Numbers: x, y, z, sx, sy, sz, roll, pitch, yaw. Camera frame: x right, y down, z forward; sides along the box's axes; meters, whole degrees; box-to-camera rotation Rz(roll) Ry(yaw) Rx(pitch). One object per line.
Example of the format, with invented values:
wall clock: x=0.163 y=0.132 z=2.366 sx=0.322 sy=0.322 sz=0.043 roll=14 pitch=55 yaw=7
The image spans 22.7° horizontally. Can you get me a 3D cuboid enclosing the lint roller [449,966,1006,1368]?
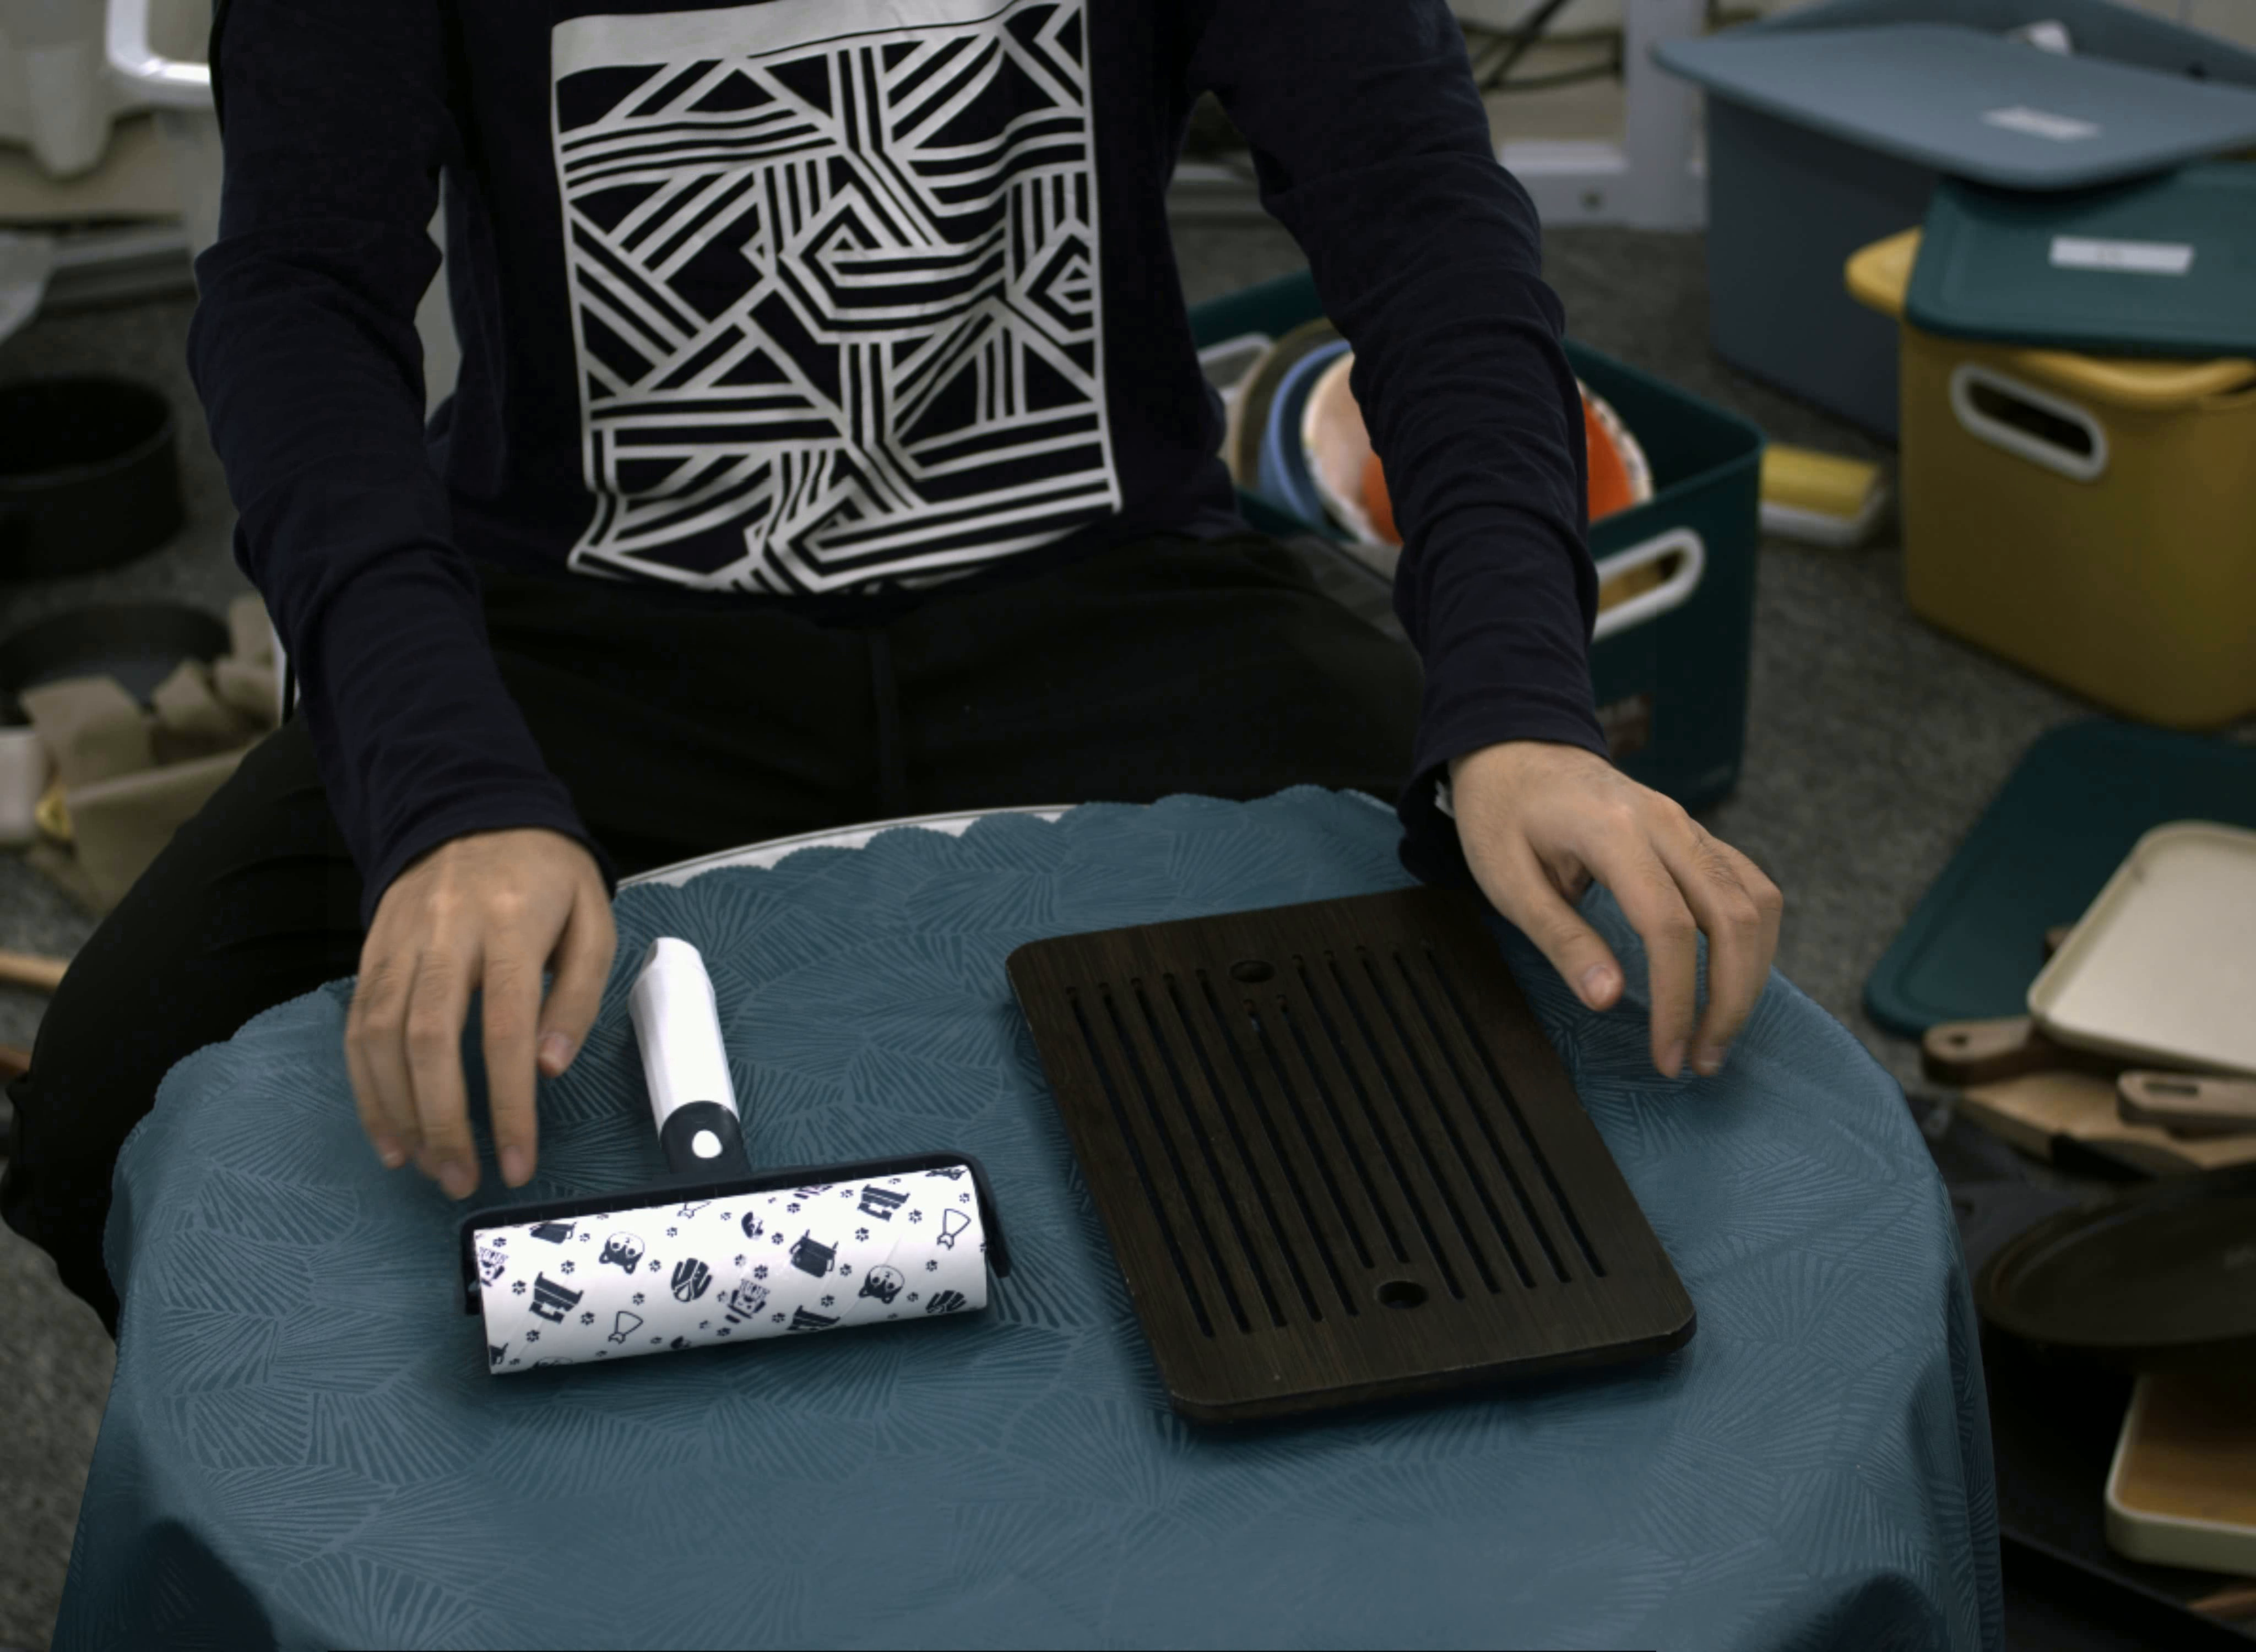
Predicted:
lint roller: x=-0.146 y=0.099 z=1.876 sx=0.176 sy=0.050 sz=0.249 roll=-8 pitch=25 yaw=-8

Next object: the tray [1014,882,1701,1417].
tray: x=0.069 y=0.104 z=1.867 sx=0.170 sy=0.018 sz=0.309 roll=-8 pitch=27 yaw=-8
